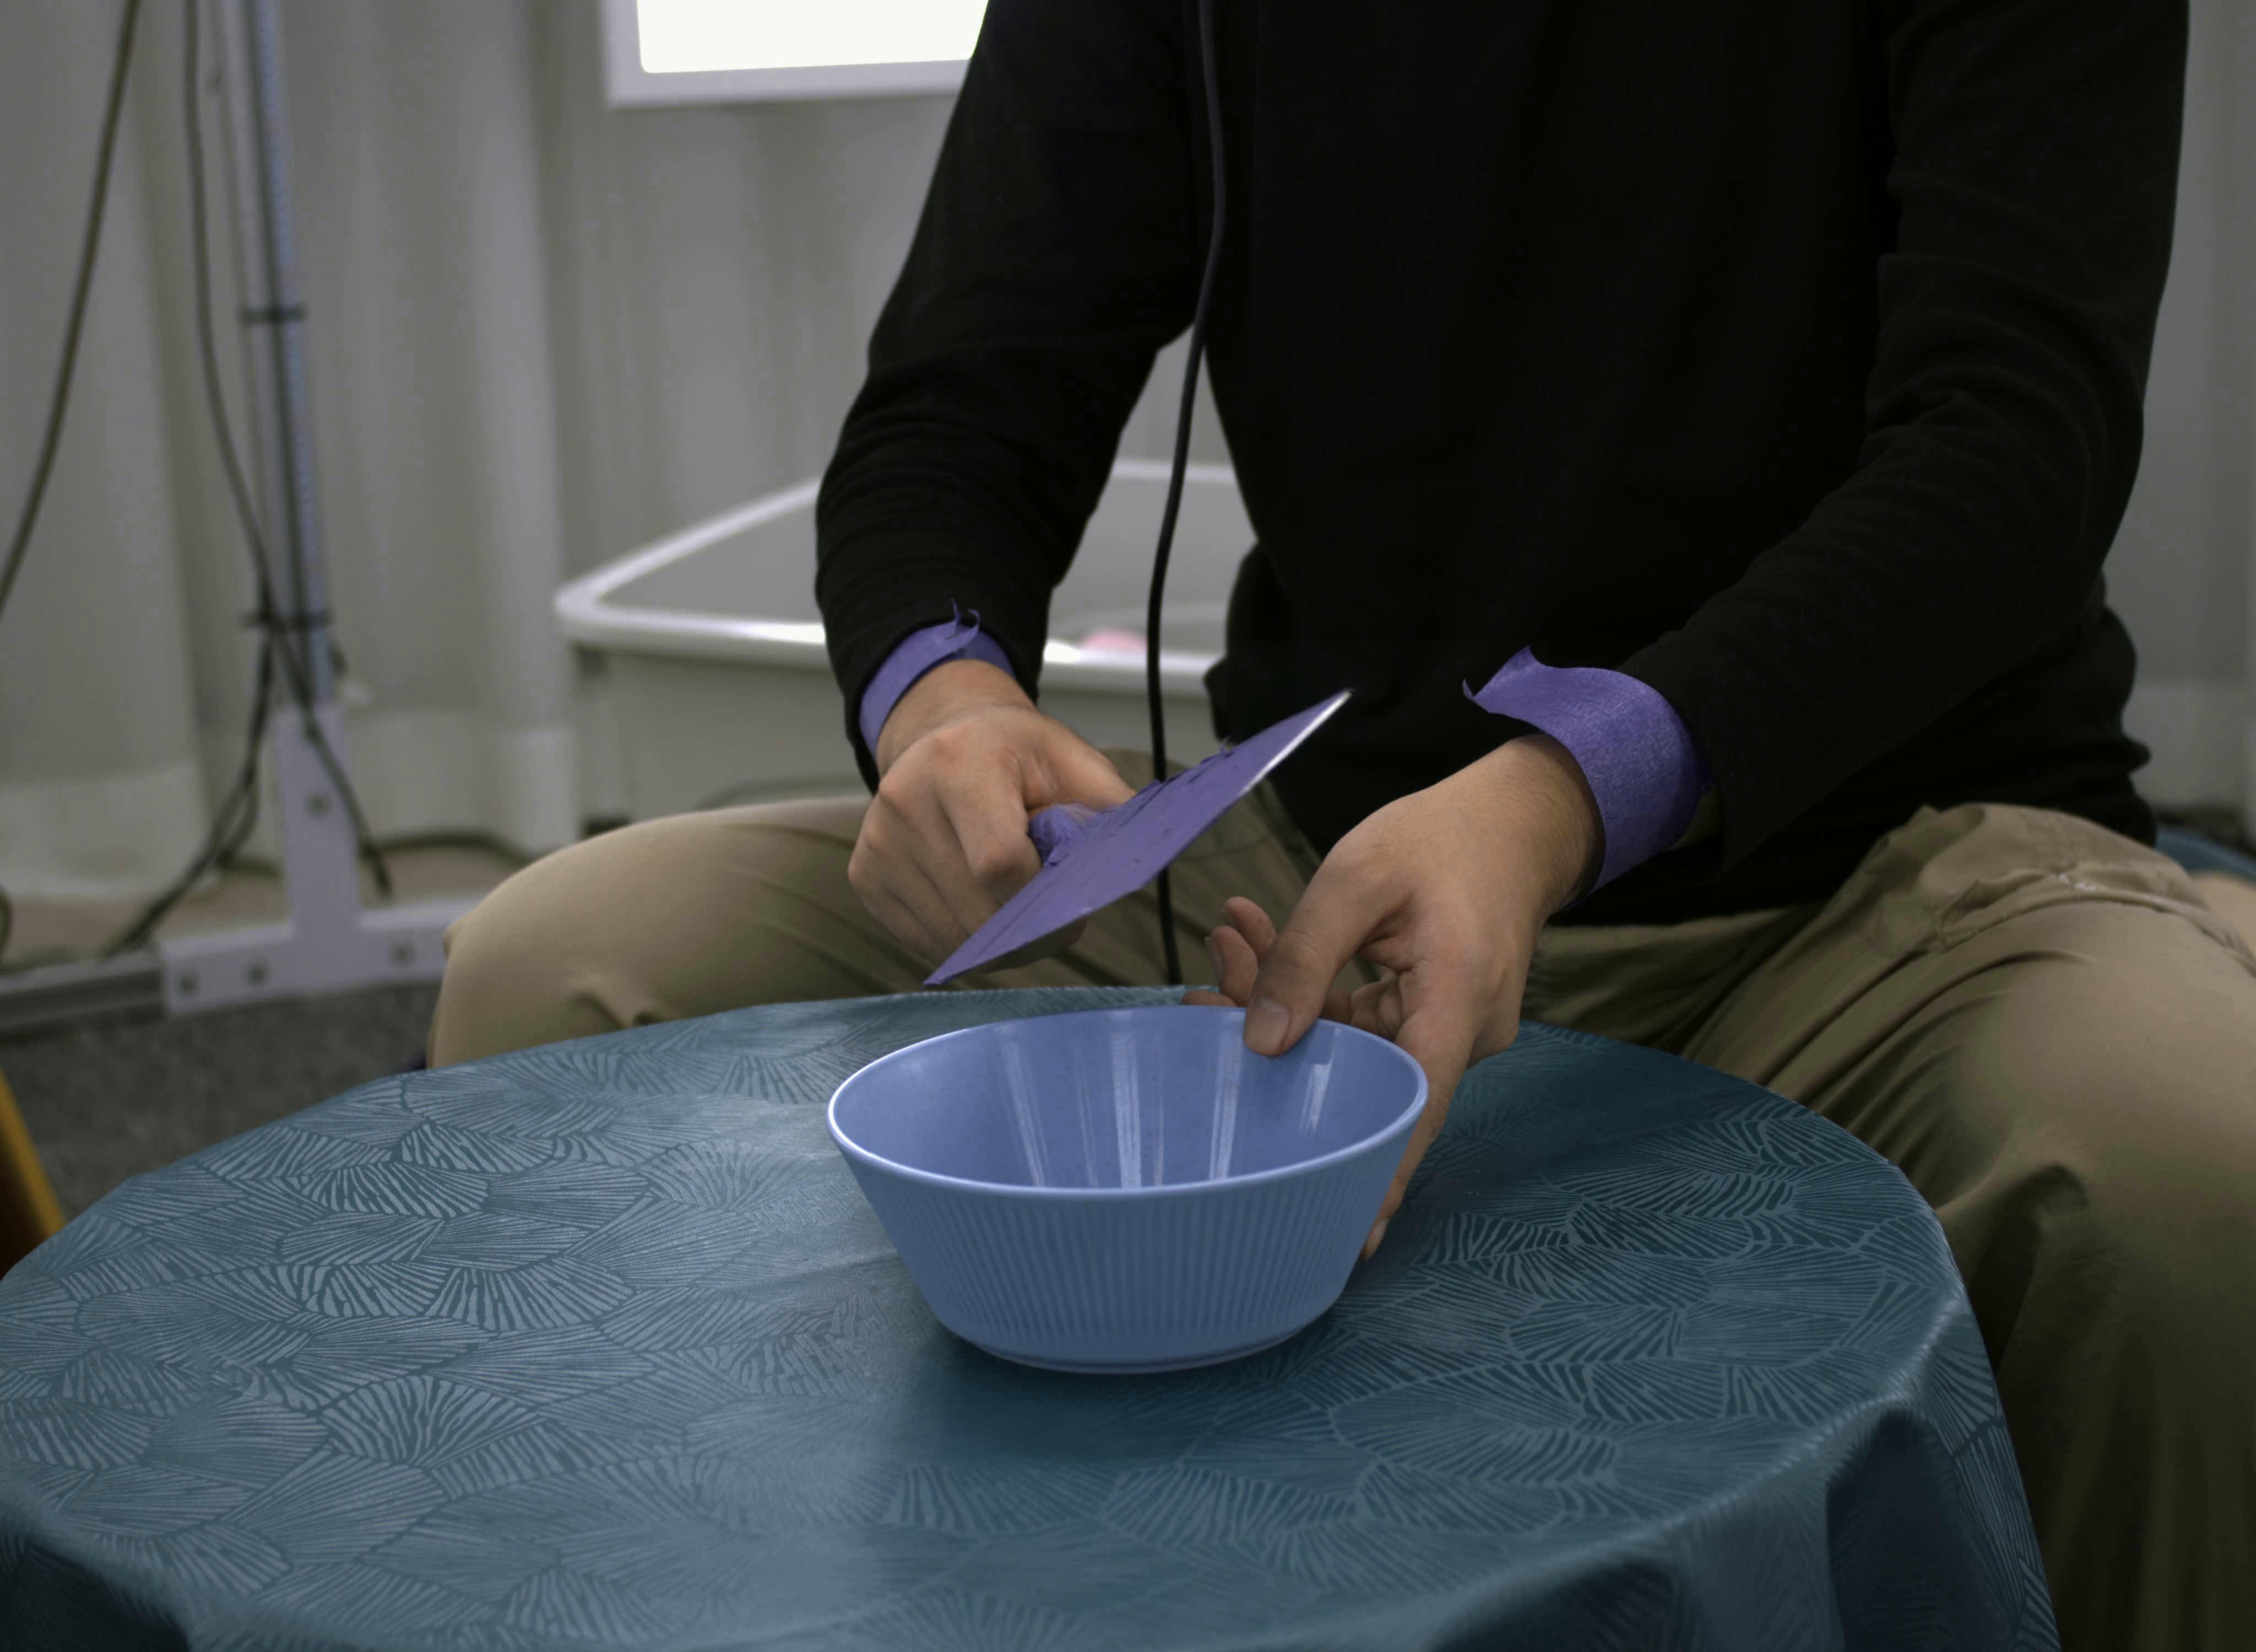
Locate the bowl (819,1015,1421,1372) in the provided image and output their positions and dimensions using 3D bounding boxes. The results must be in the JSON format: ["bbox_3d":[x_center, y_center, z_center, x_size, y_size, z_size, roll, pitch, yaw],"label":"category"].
[{"bbox_3d":[-0.002,0.110,1.598,0.175,0.070,0.177,-1,14,0],"label":"bowl"}]

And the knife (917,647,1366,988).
[{"bbox_3d":[-0.021,0.010,1.701,0.104,0.032,0.314,-42,4,-23],"label":"knife"}]
